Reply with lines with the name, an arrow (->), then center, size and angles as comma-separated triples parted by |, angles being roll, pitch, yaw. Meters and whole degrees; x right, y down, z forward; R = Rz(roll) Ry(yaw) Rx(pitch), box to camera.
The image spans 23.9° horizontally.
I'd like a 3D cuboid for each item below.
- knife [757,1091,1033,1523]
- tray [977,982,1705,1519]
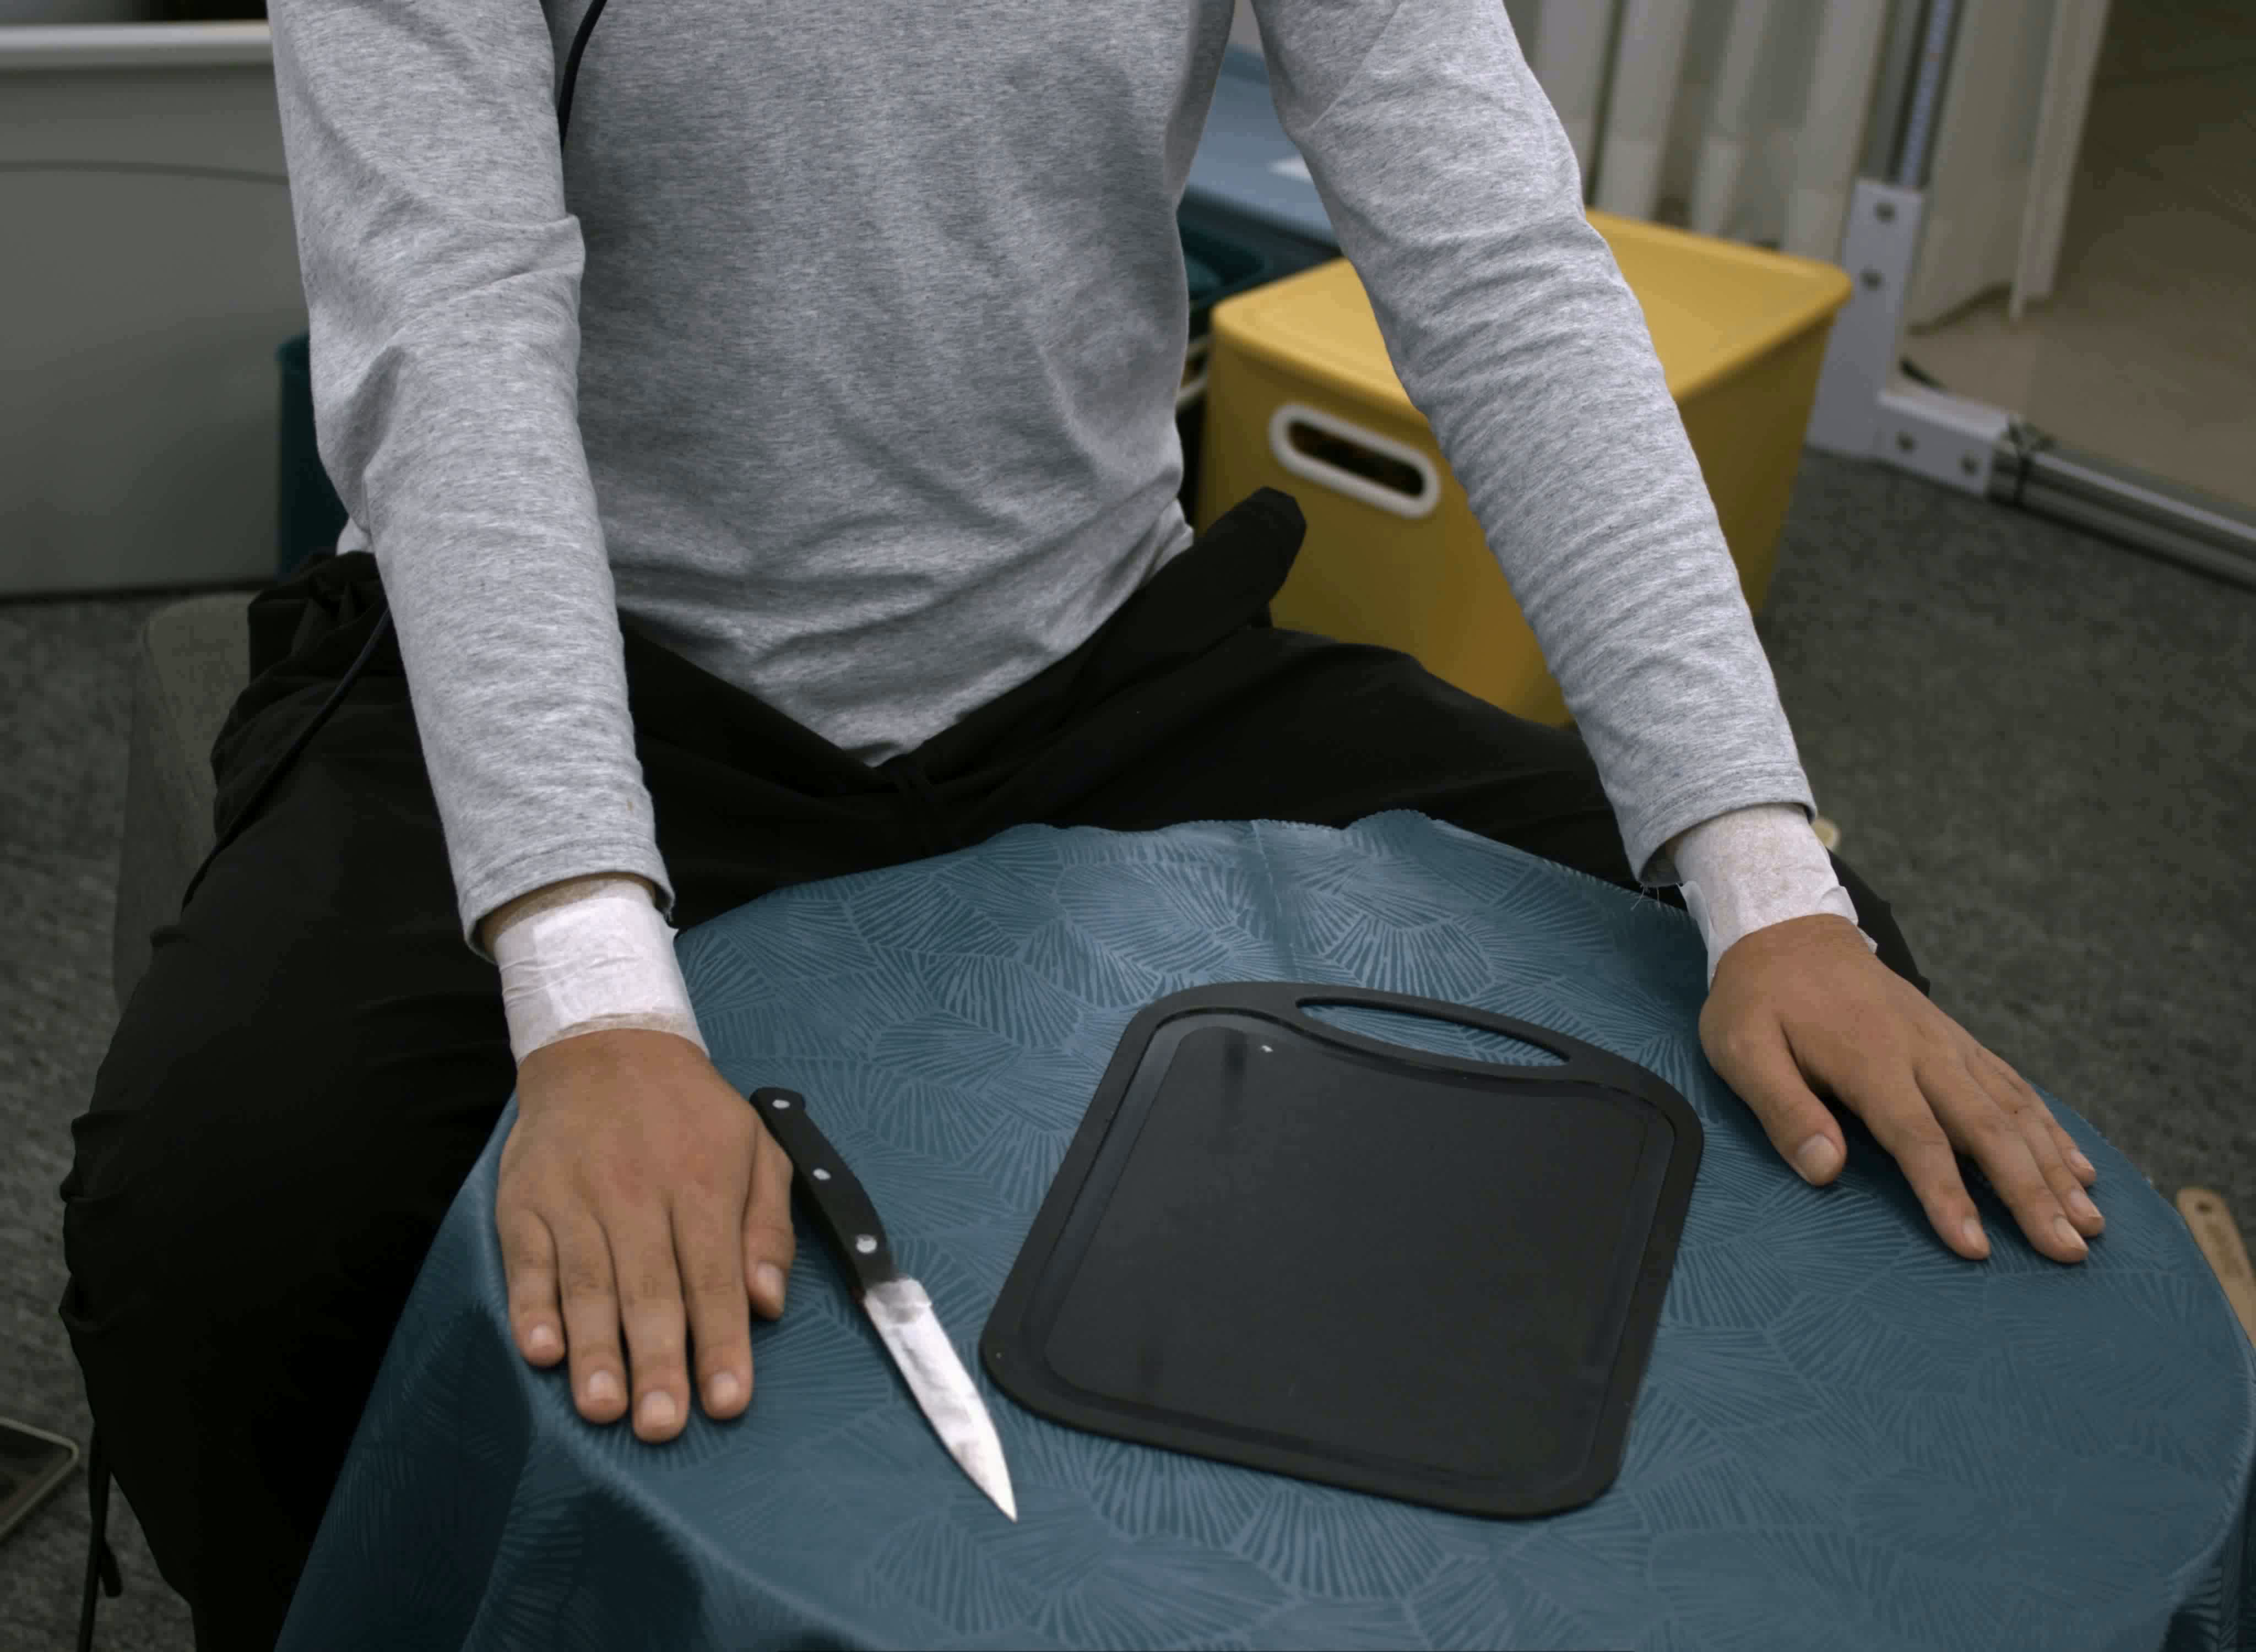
knife -> -0.077, 0.154, 1.716 | 0.024, 0.016, 0.240 | -7, 32, -21
tray -> 0.079, 0.132, 1.801 | 0.211, 0.010, 0.326 | 11, 27, 9
